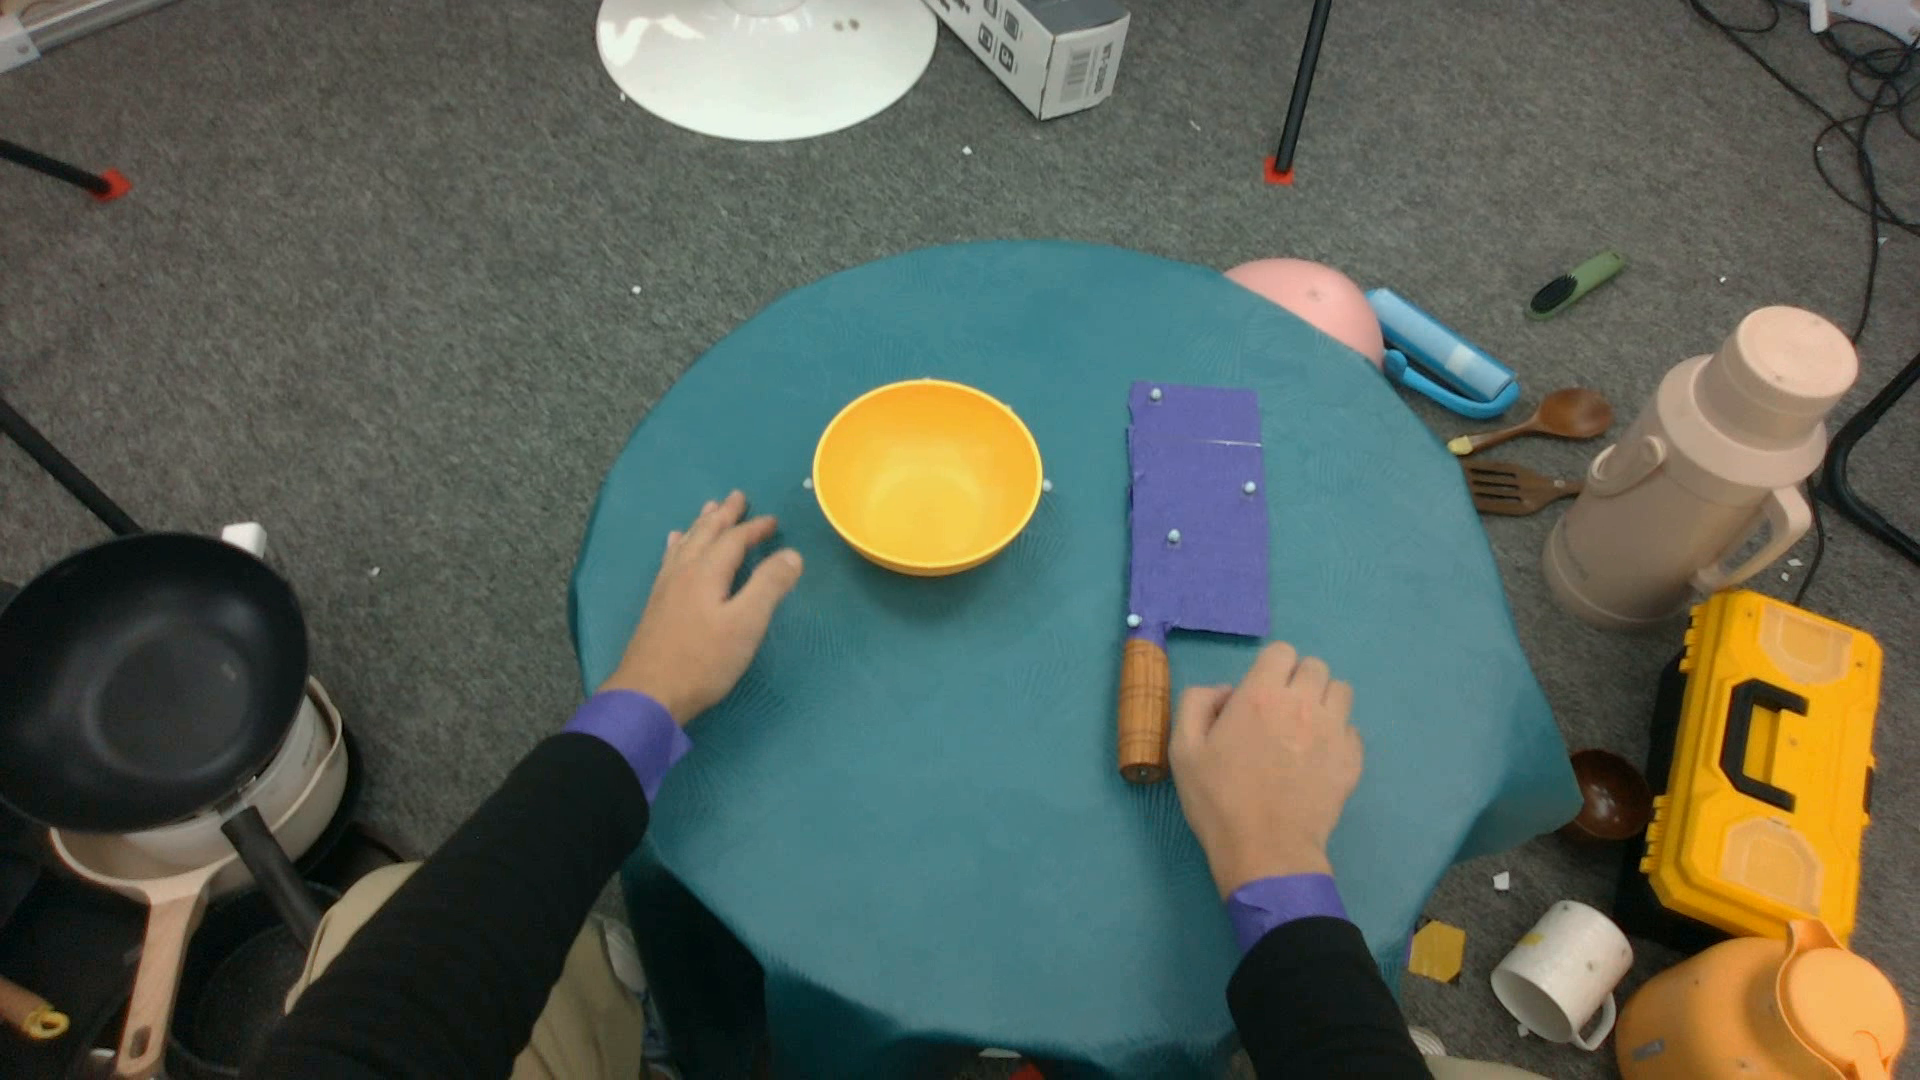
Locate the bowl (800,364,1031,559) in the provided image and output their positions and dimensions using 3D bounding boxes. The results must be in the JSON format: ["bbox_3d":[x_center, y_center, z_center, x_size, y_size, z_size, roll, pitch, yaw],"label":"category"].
[{"bbox_3d":[-0.028,-0.040,0.885,0.145,0.060,0.146,1,58,-1],"label":"bowl"}]

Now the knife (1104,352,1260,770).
[{"bbox_3d":[0.144,0.000,0.891,0.104,0.032,0.316,4,58,0],"label":"knife"}]
